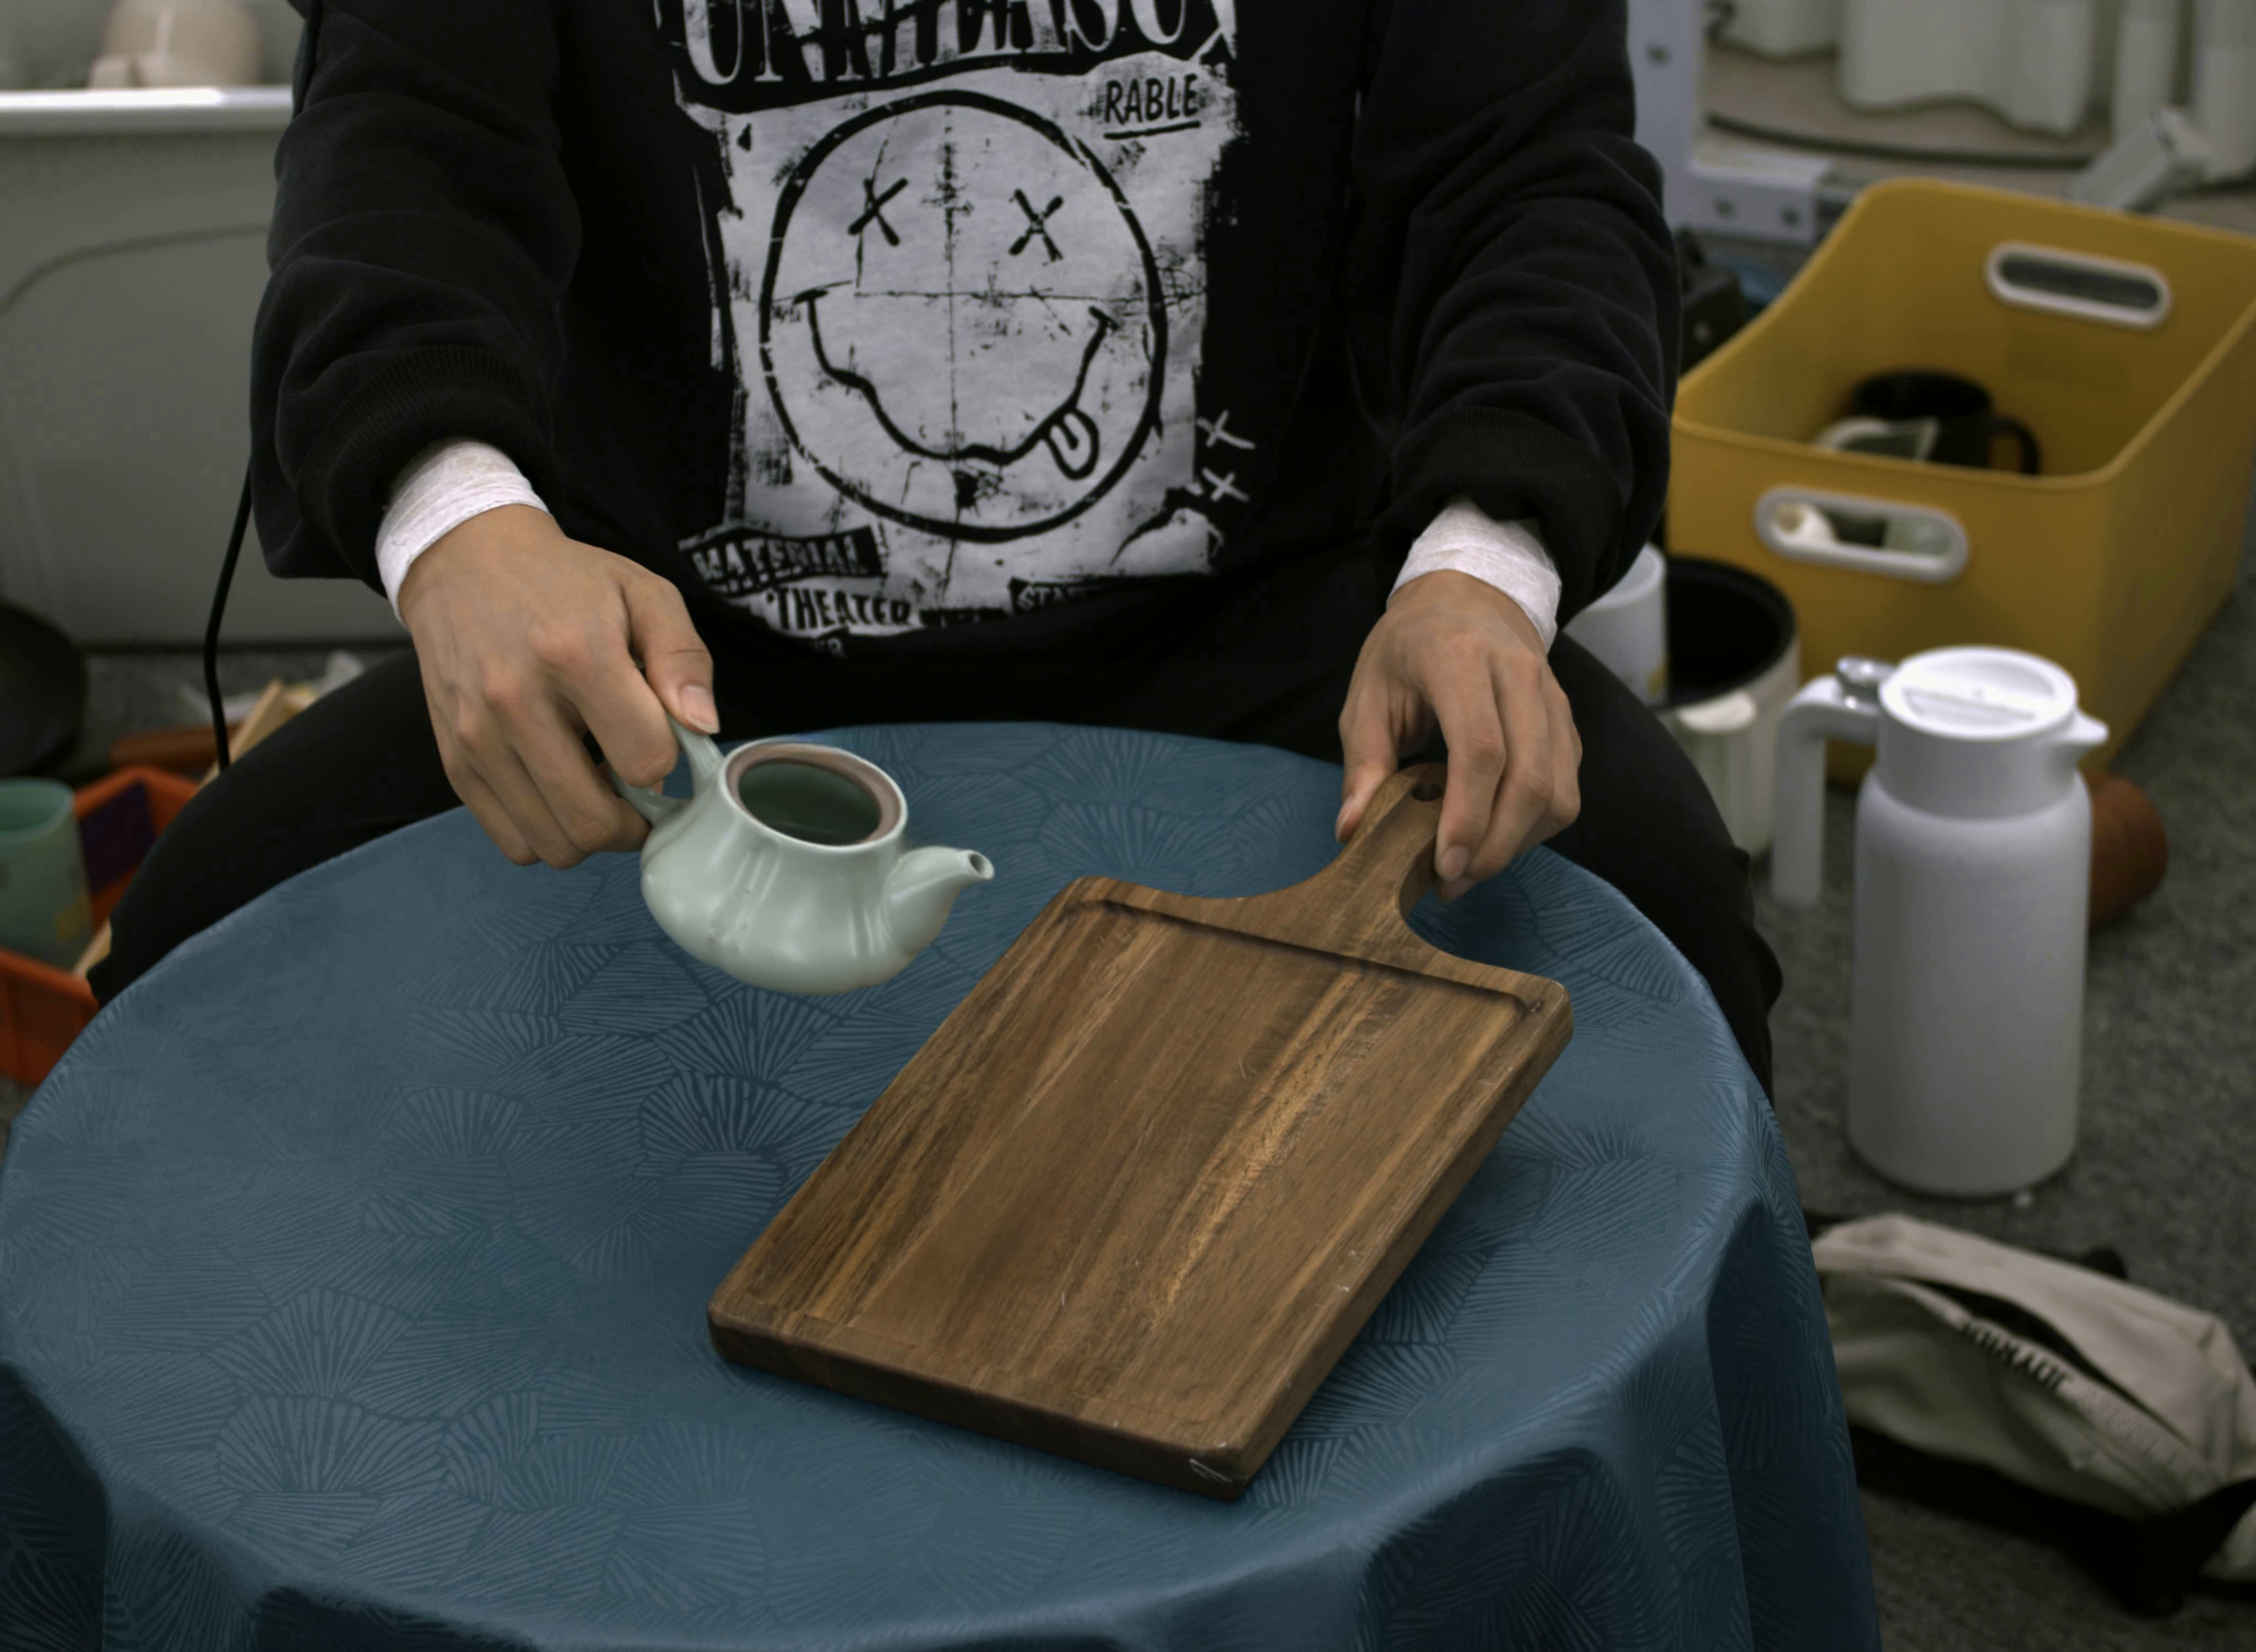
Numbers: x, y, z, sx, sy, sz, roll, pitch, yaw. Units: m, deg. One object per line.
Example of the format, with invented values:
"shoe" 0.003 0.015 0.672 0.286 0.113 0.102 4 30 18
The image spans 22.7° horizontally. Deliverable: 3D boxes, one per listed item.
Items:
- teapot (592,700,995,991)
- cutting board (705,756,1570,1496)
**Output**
"teapot" -0.112 0.006 1.803 0.136 0.060 0.098 24 34 9
"cutting board" 0.029 0.082 1.853 0.200 0.023 0.359 11 39 26
